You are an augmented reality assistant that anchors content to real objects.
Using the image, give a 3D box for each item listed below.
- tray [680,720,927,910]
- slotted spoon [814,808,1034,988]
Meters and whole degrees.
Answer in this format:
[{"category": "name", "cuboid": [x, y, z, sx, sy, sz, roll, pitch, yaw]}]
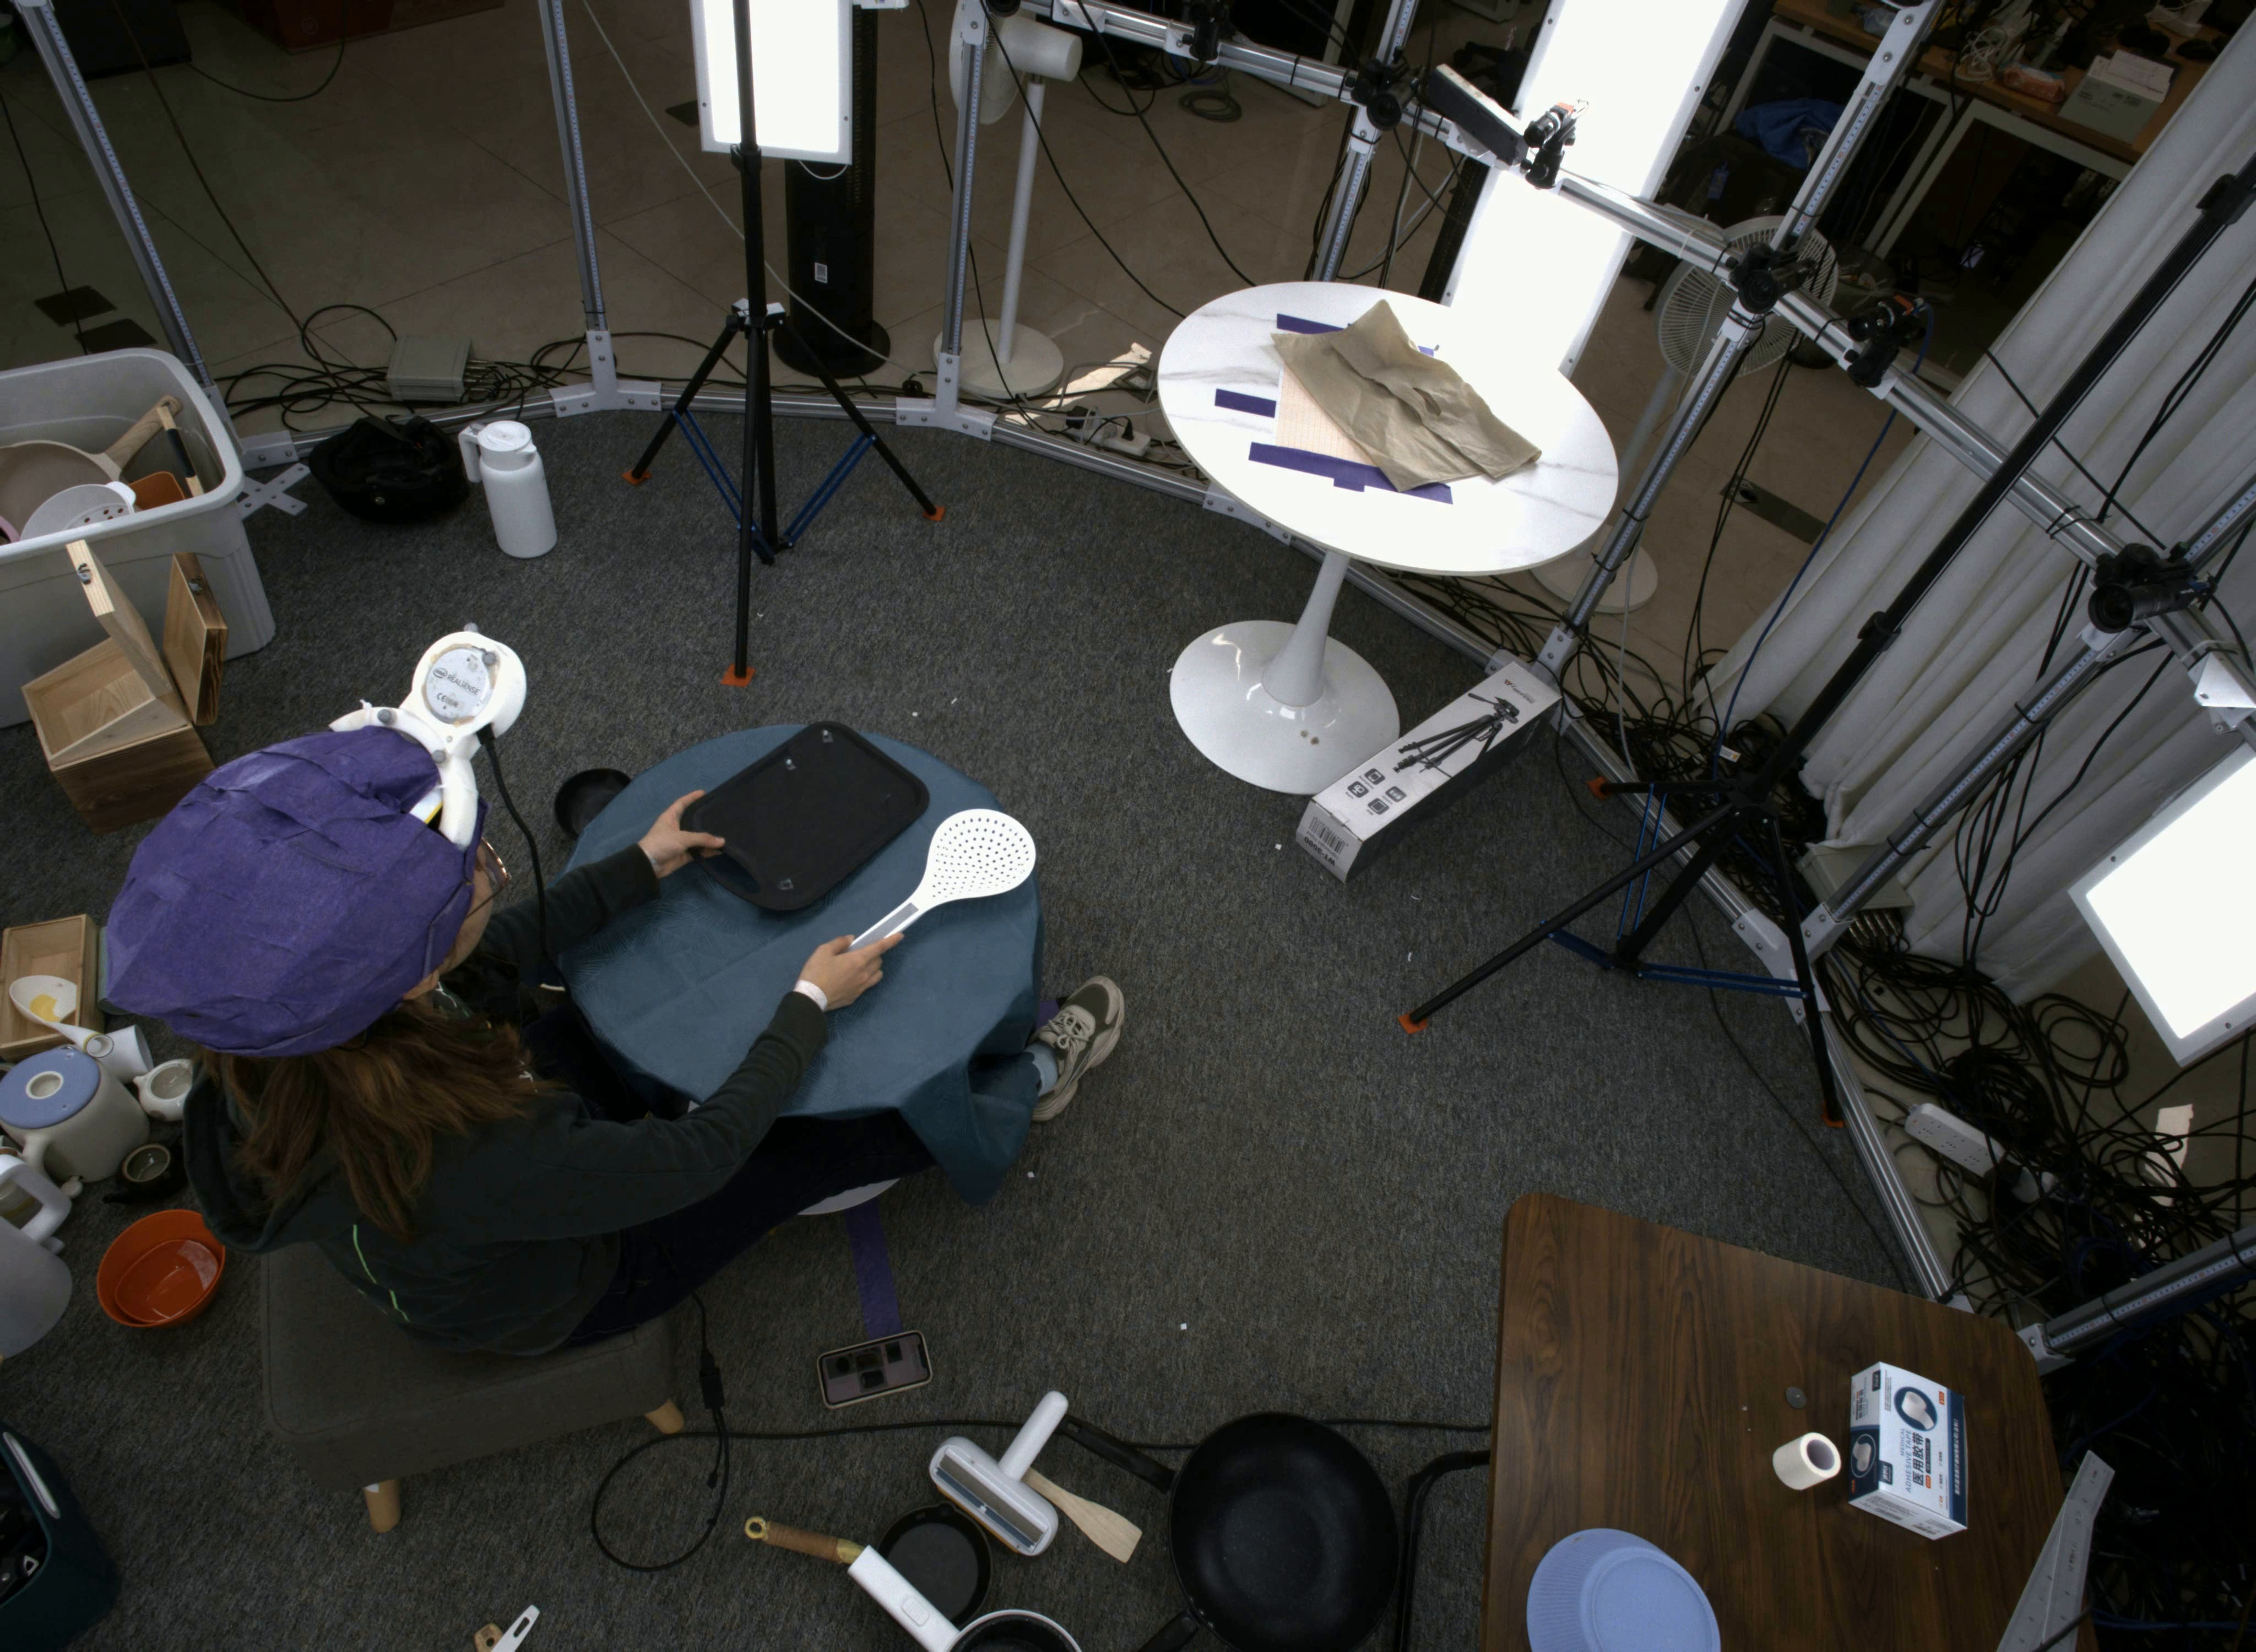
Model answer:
[{"category": "tray", "cuboid": [-0.427, -0.019, 1.712, 0.208, 0.010, 0.325, 37, 48, 9]}, {"category": "slotted spoon", "cuboid": [-0.260, 0.092, 1.661, 0.133, 0.046, 0.350, 39, 50, 15]}]
